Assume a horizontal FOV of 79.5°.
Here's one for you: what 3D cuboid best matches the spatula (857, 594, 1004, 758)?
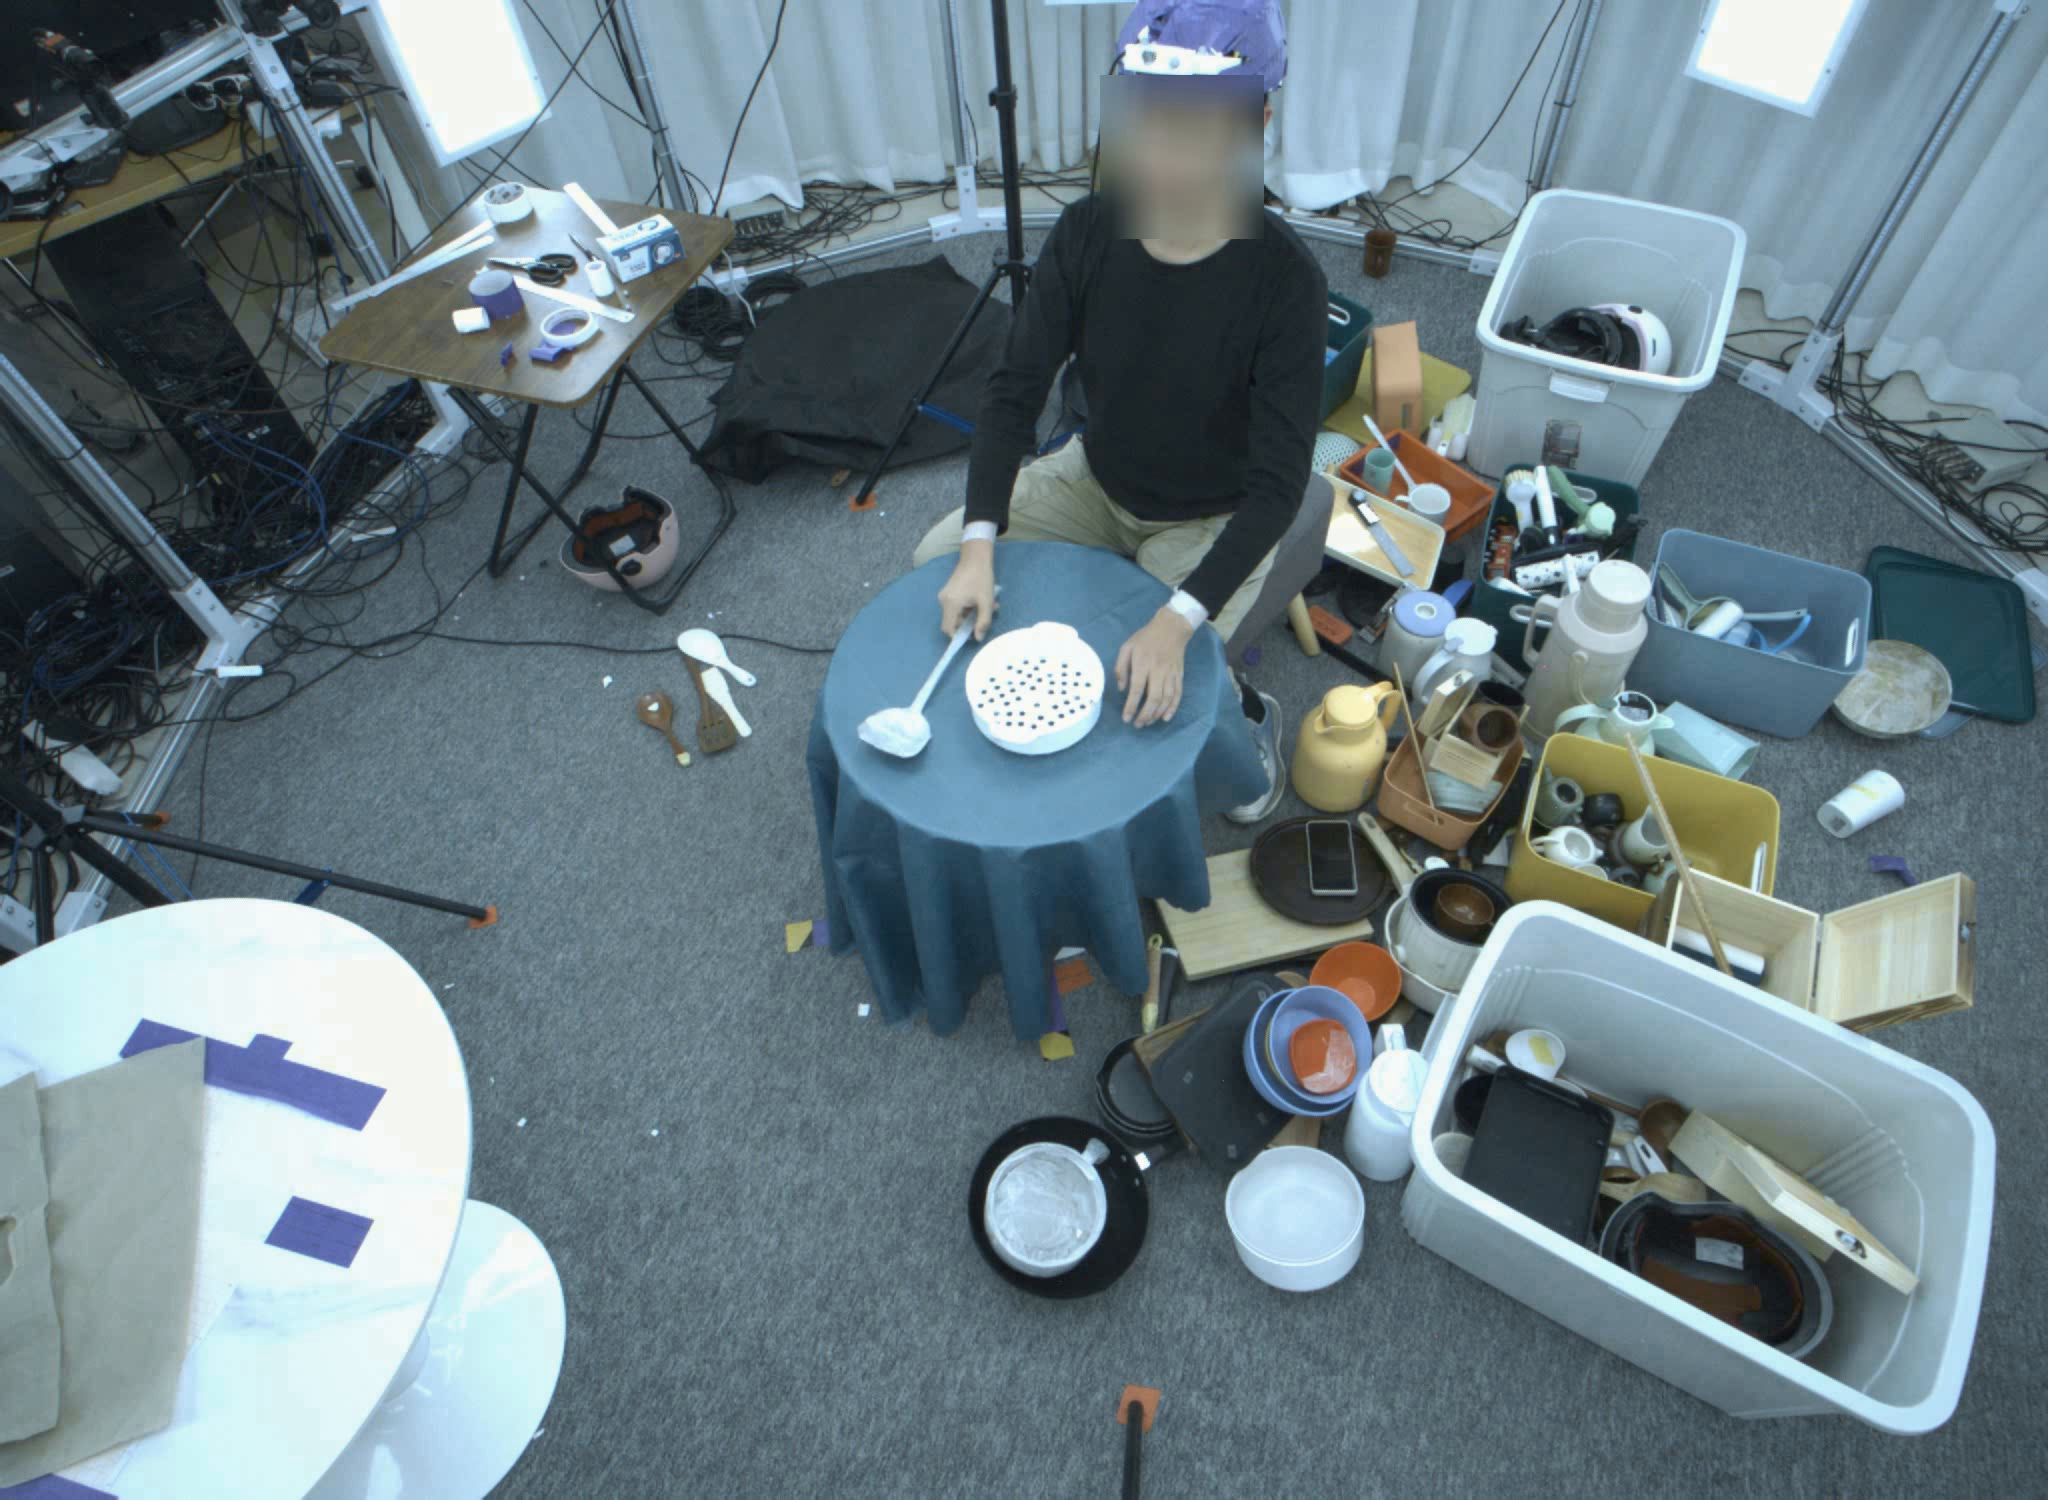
[{"bbox_3d":[-0.124,-0.126,1.853,0.098,0.045,0.365,25,61,11],"label":"spatula"}]

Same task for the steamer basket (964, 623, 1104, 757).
[{"bbox_3d":[0.015,-0.082,1.802,0.200,0.070,0.230,15,56,11],"label":"steamer basket"}]
